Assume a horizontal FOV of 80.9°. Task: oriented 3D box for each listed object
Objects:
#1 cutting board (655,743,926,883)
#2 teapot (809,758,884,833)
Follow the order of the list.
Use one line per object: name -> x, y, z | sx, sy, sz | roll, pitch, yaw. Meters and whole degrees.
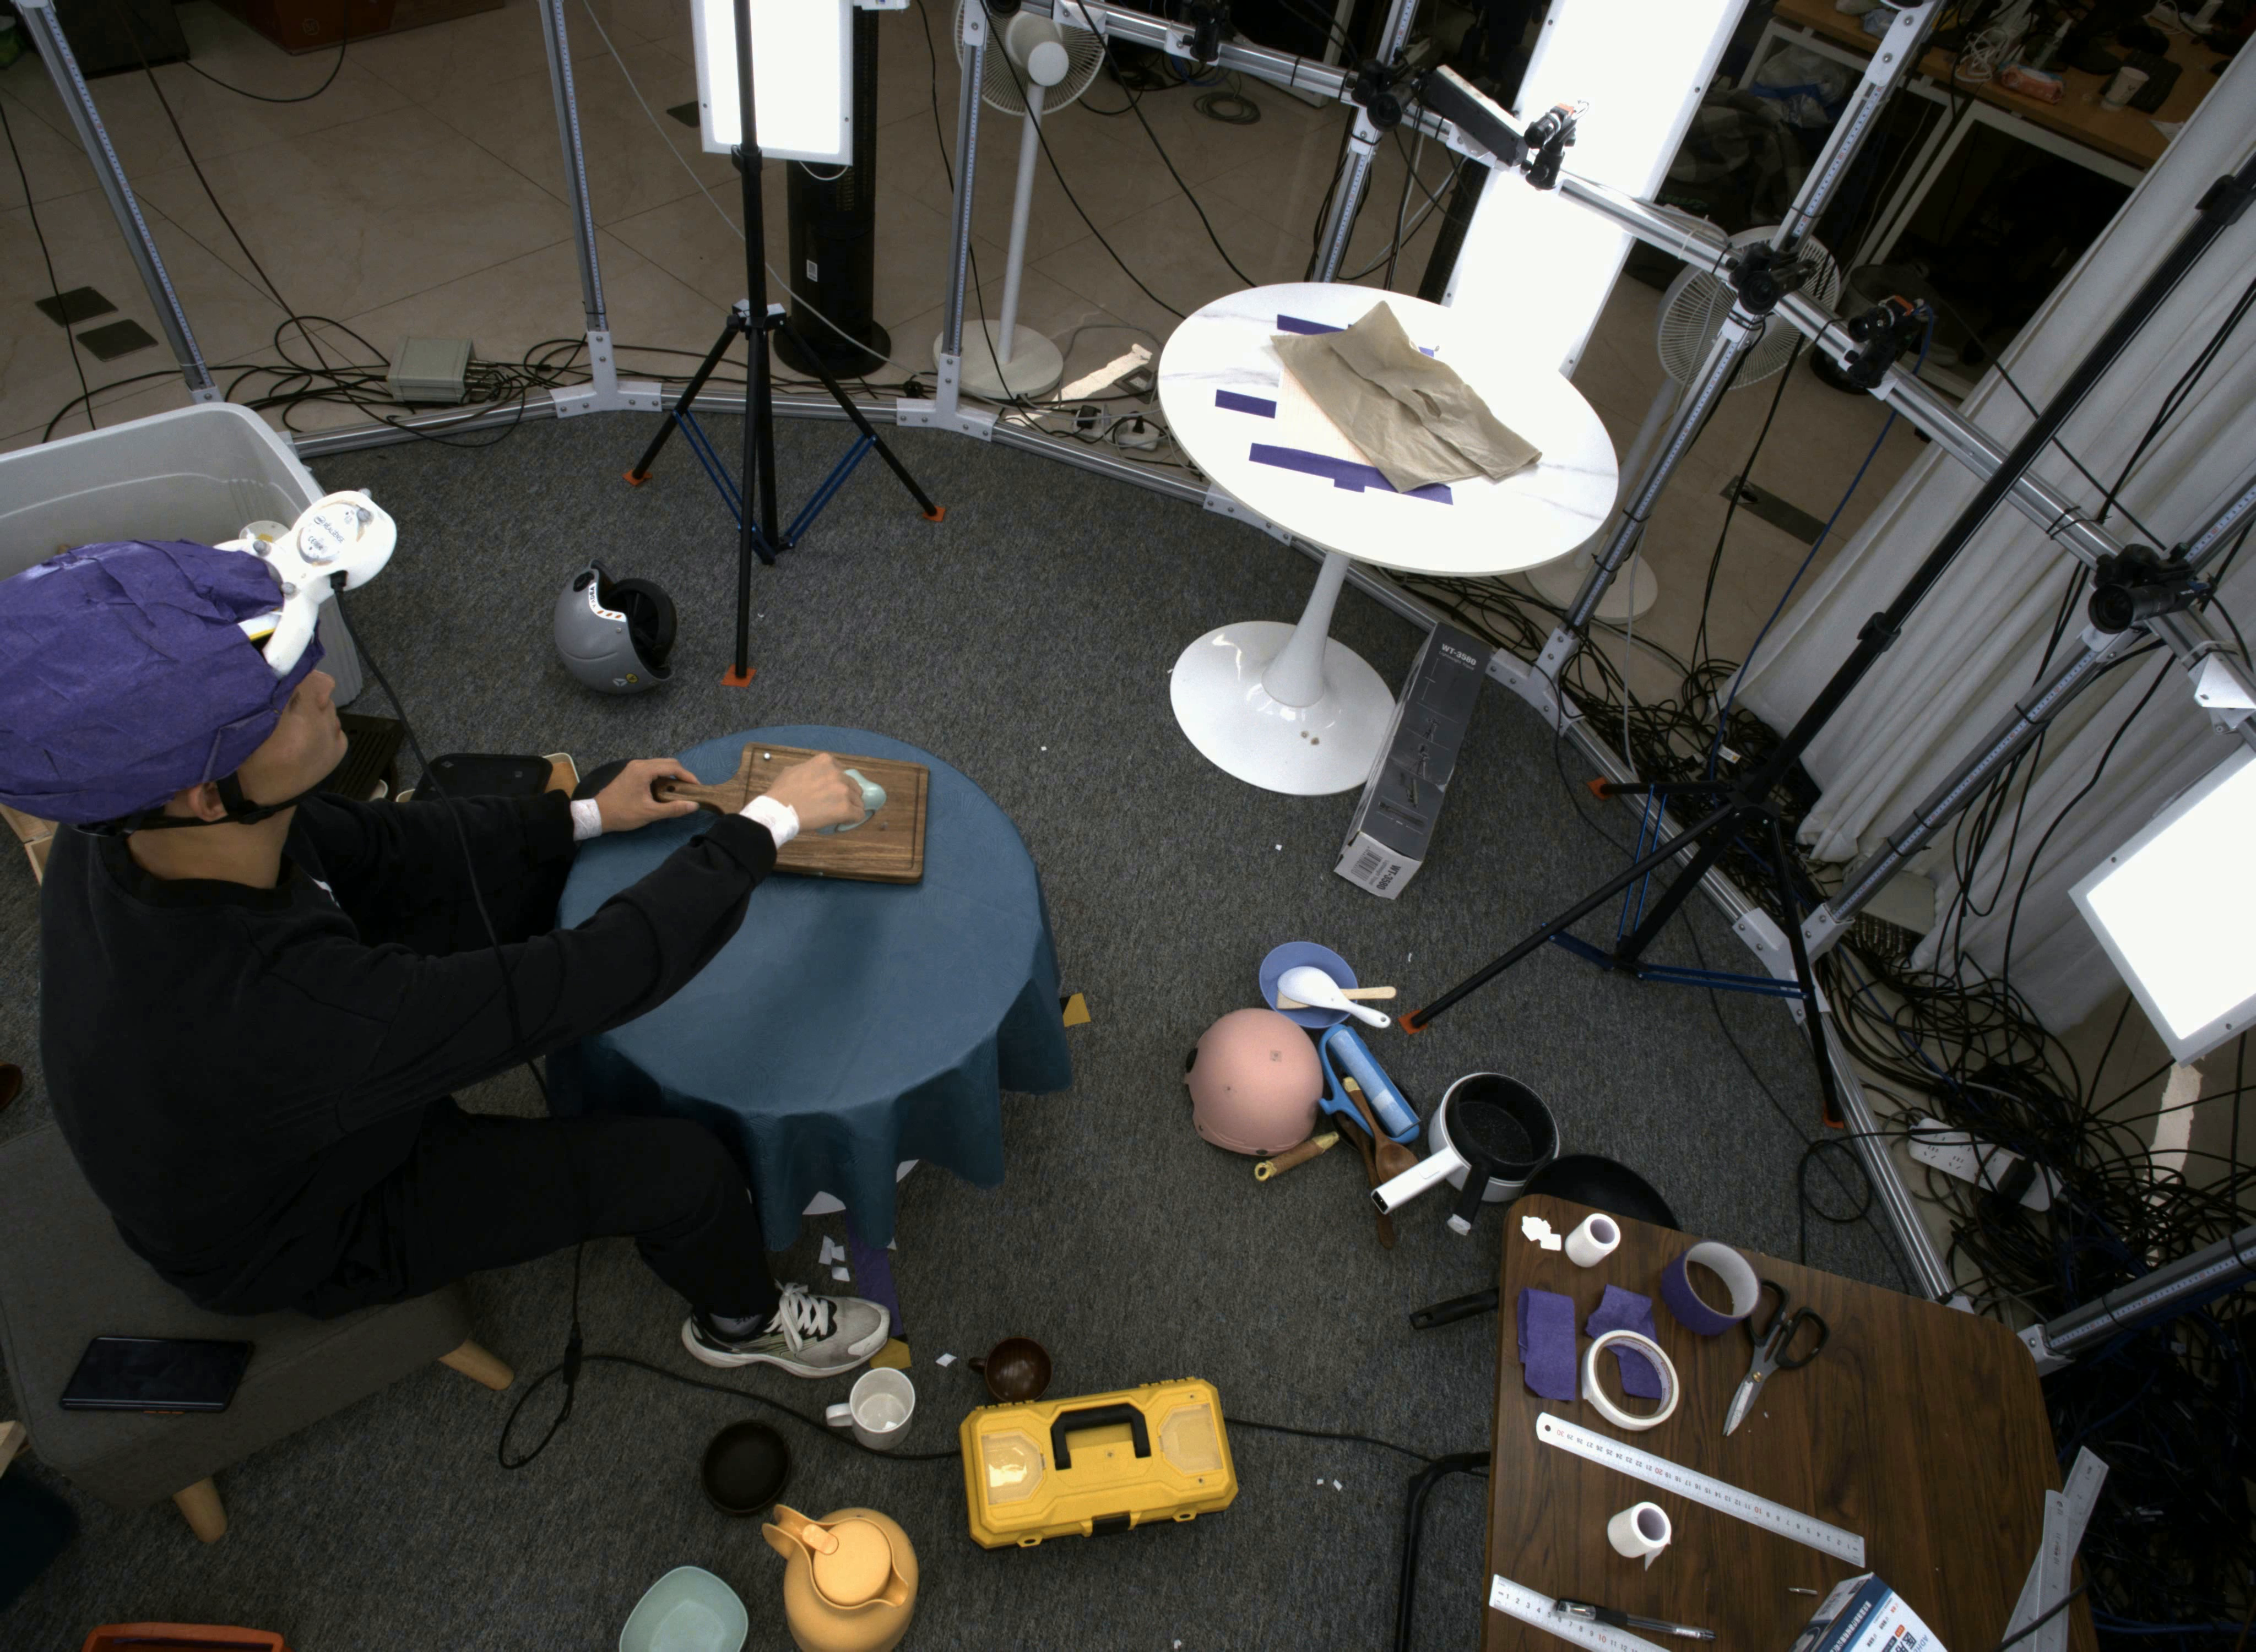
cutting board -> -0.441, -0.025, 1.703 | 0.354, 0.023, 0.197 | 6, 52, -16
teapot -> -0.346, -0.036, 1.565 | 0.096, 0.138, 0.061 | -28, 77, -12
